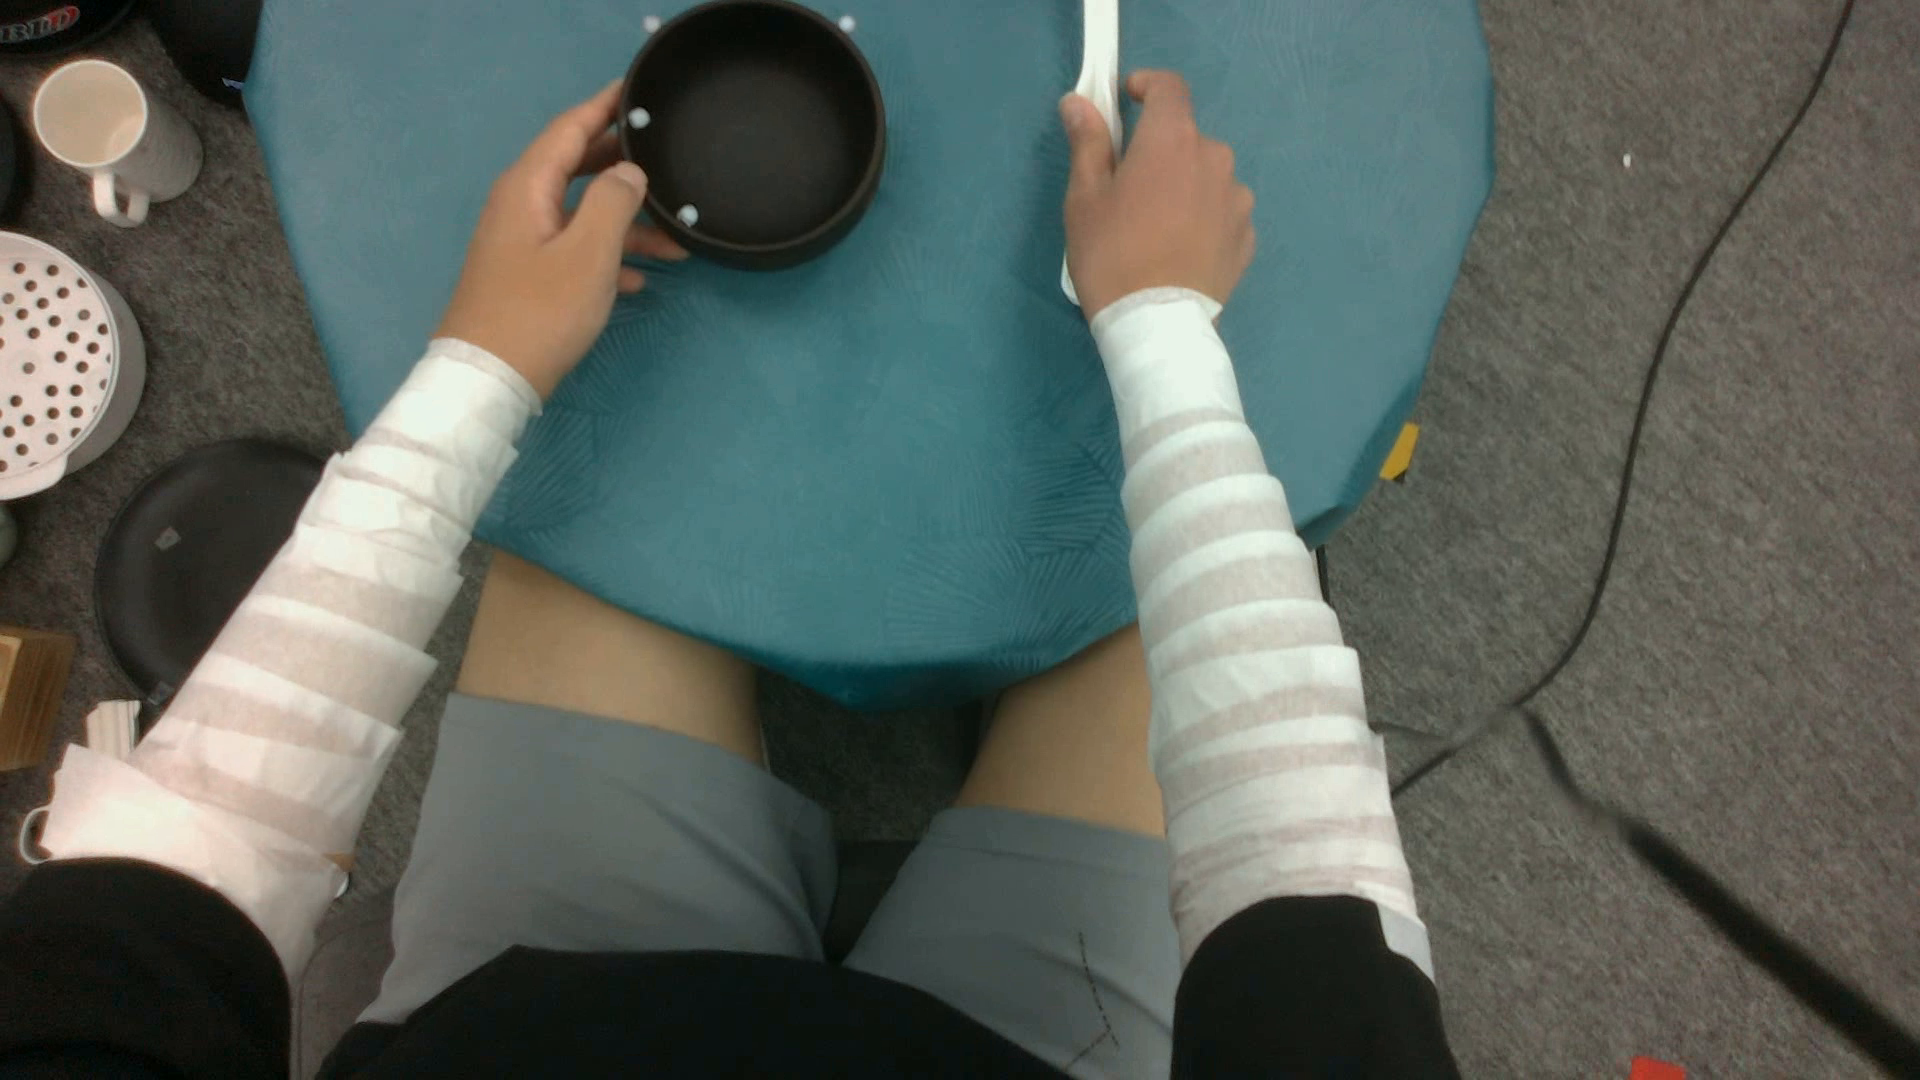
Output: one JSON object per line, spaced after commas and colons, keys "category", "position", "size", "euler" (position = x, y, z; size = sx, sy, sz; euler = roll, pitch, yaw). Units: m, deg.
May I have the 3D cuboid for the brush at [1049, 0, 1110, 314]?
{"category": "brush", "position": [0.059, -0.233, 0.668], "size": [0.034, 0.050, 0.244], "euler": [4, 83, 29]}

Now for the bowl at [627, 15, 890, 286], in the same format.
{"category": "bowl", "position": [-0.092, -0.176, 0.644], "size": [0.118, 0.070, 0.118], "euler": [0, 88, -5]}
